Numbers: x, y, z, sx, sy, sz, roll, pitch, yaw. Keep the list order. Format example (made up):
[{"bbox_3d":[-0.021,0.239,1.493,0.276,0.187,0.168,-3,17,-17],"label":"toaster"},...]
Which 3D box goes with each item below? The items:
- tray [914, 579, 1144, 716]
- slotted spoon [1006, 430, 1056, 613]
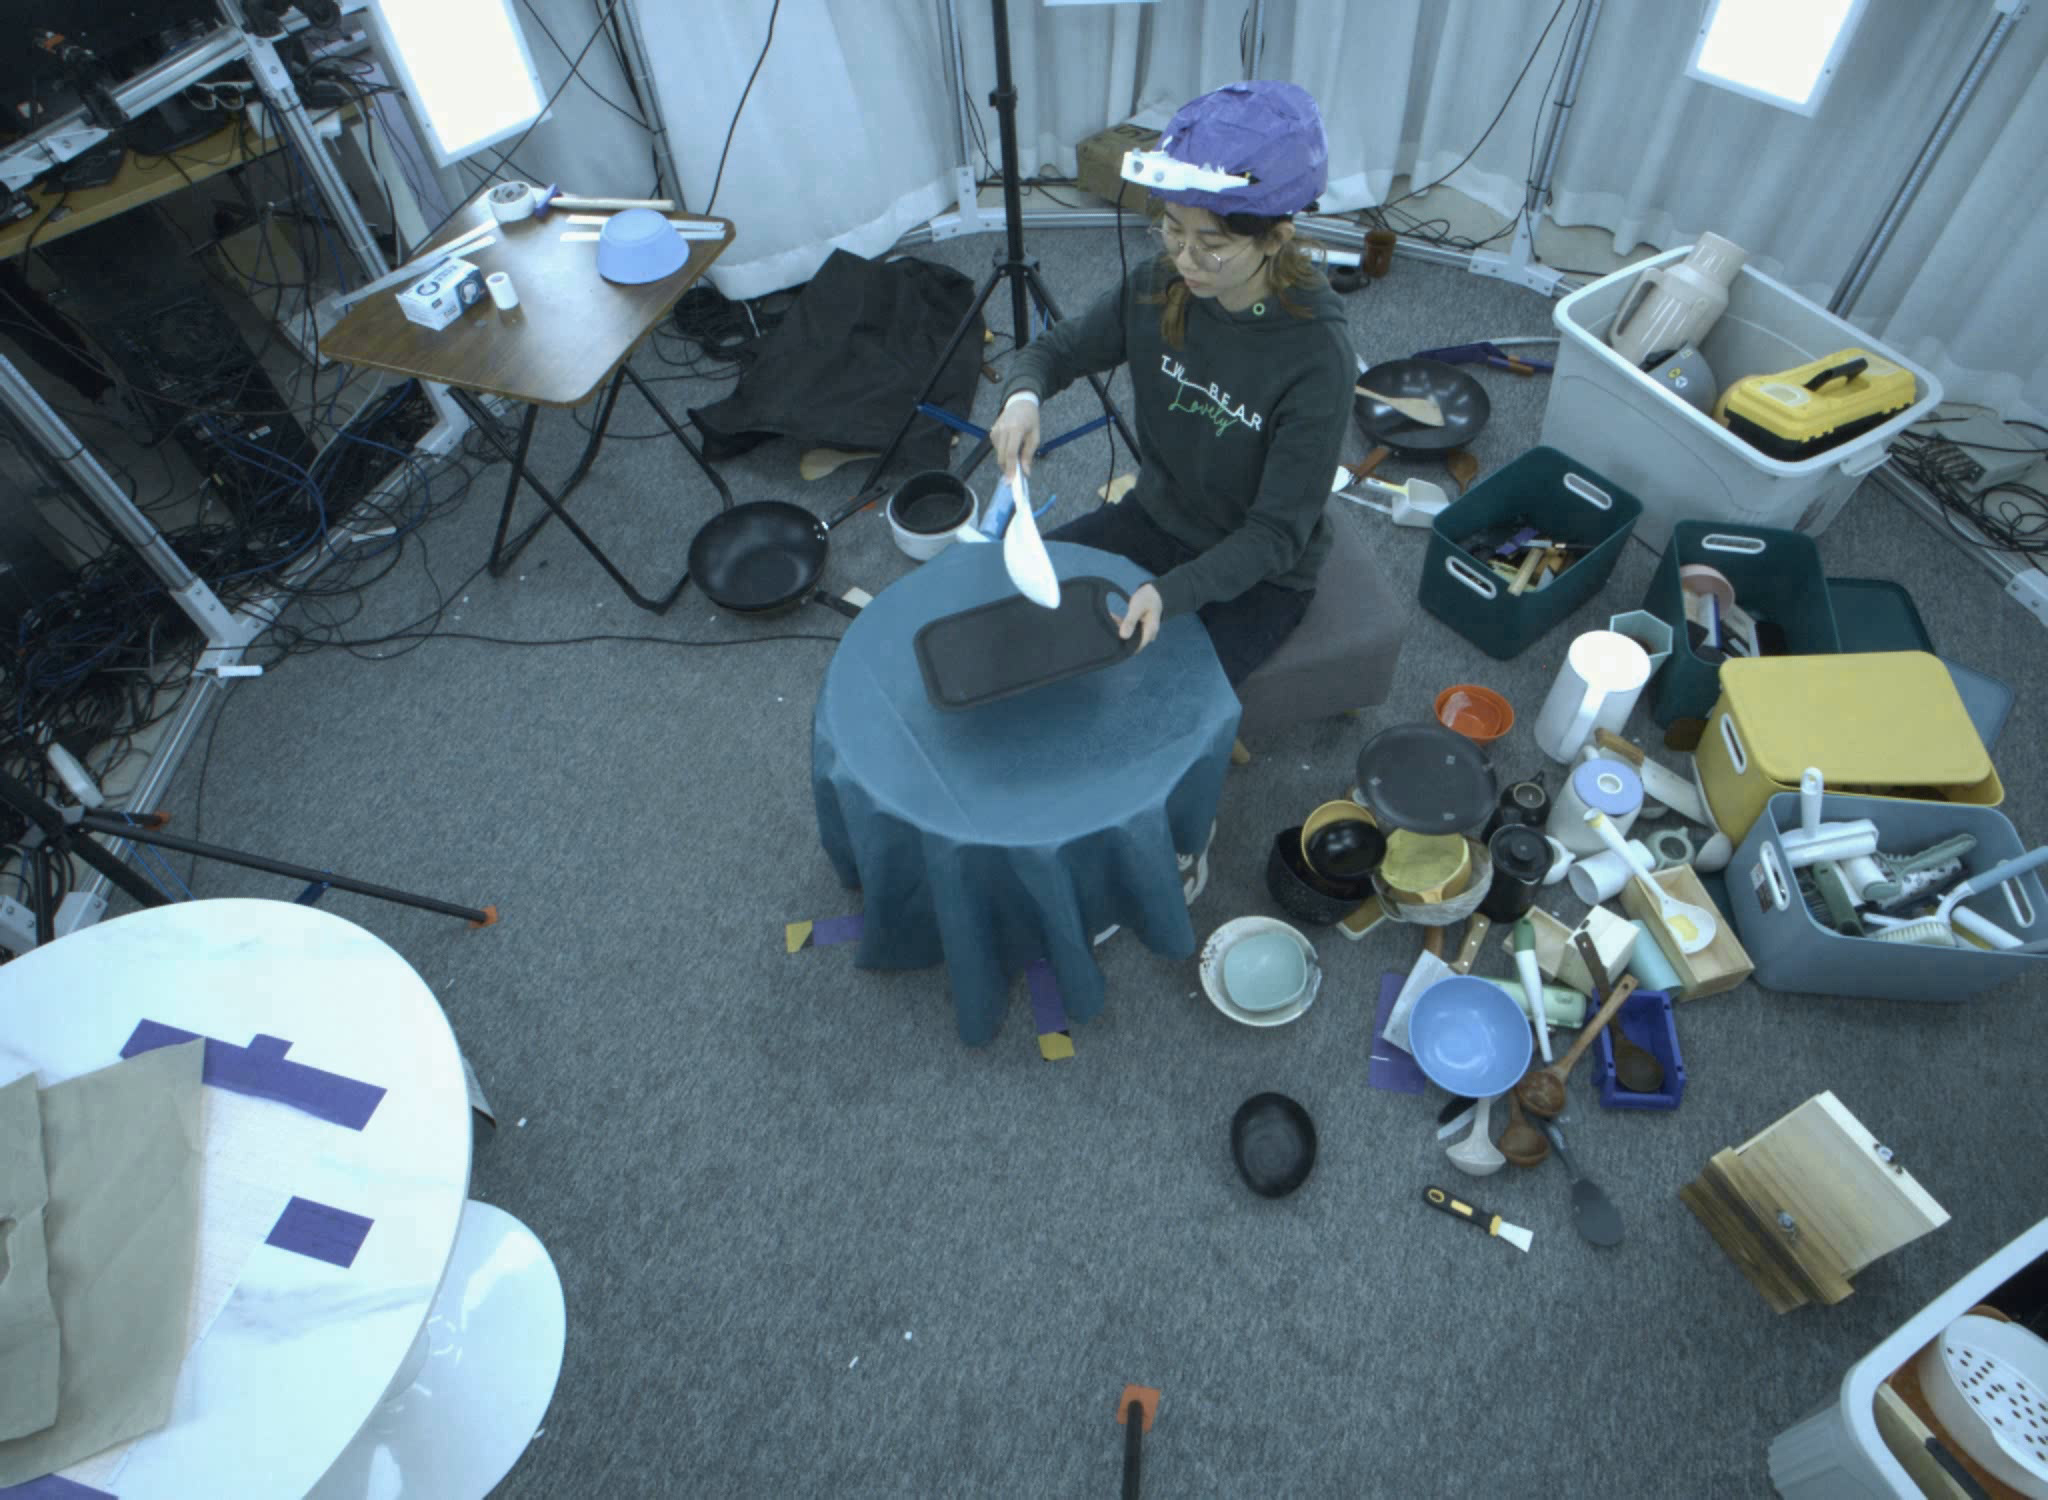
[{"bbox_3d":[0.008,-0.155,1.756,0.326,0.010,0.207,-17,46,-4],"label":"tray"},{"bbox_3d":[-0.001,-0.337,1.743,0.045,0.139,0.346,-14,55,18],"label":"slotted spoon"}]
